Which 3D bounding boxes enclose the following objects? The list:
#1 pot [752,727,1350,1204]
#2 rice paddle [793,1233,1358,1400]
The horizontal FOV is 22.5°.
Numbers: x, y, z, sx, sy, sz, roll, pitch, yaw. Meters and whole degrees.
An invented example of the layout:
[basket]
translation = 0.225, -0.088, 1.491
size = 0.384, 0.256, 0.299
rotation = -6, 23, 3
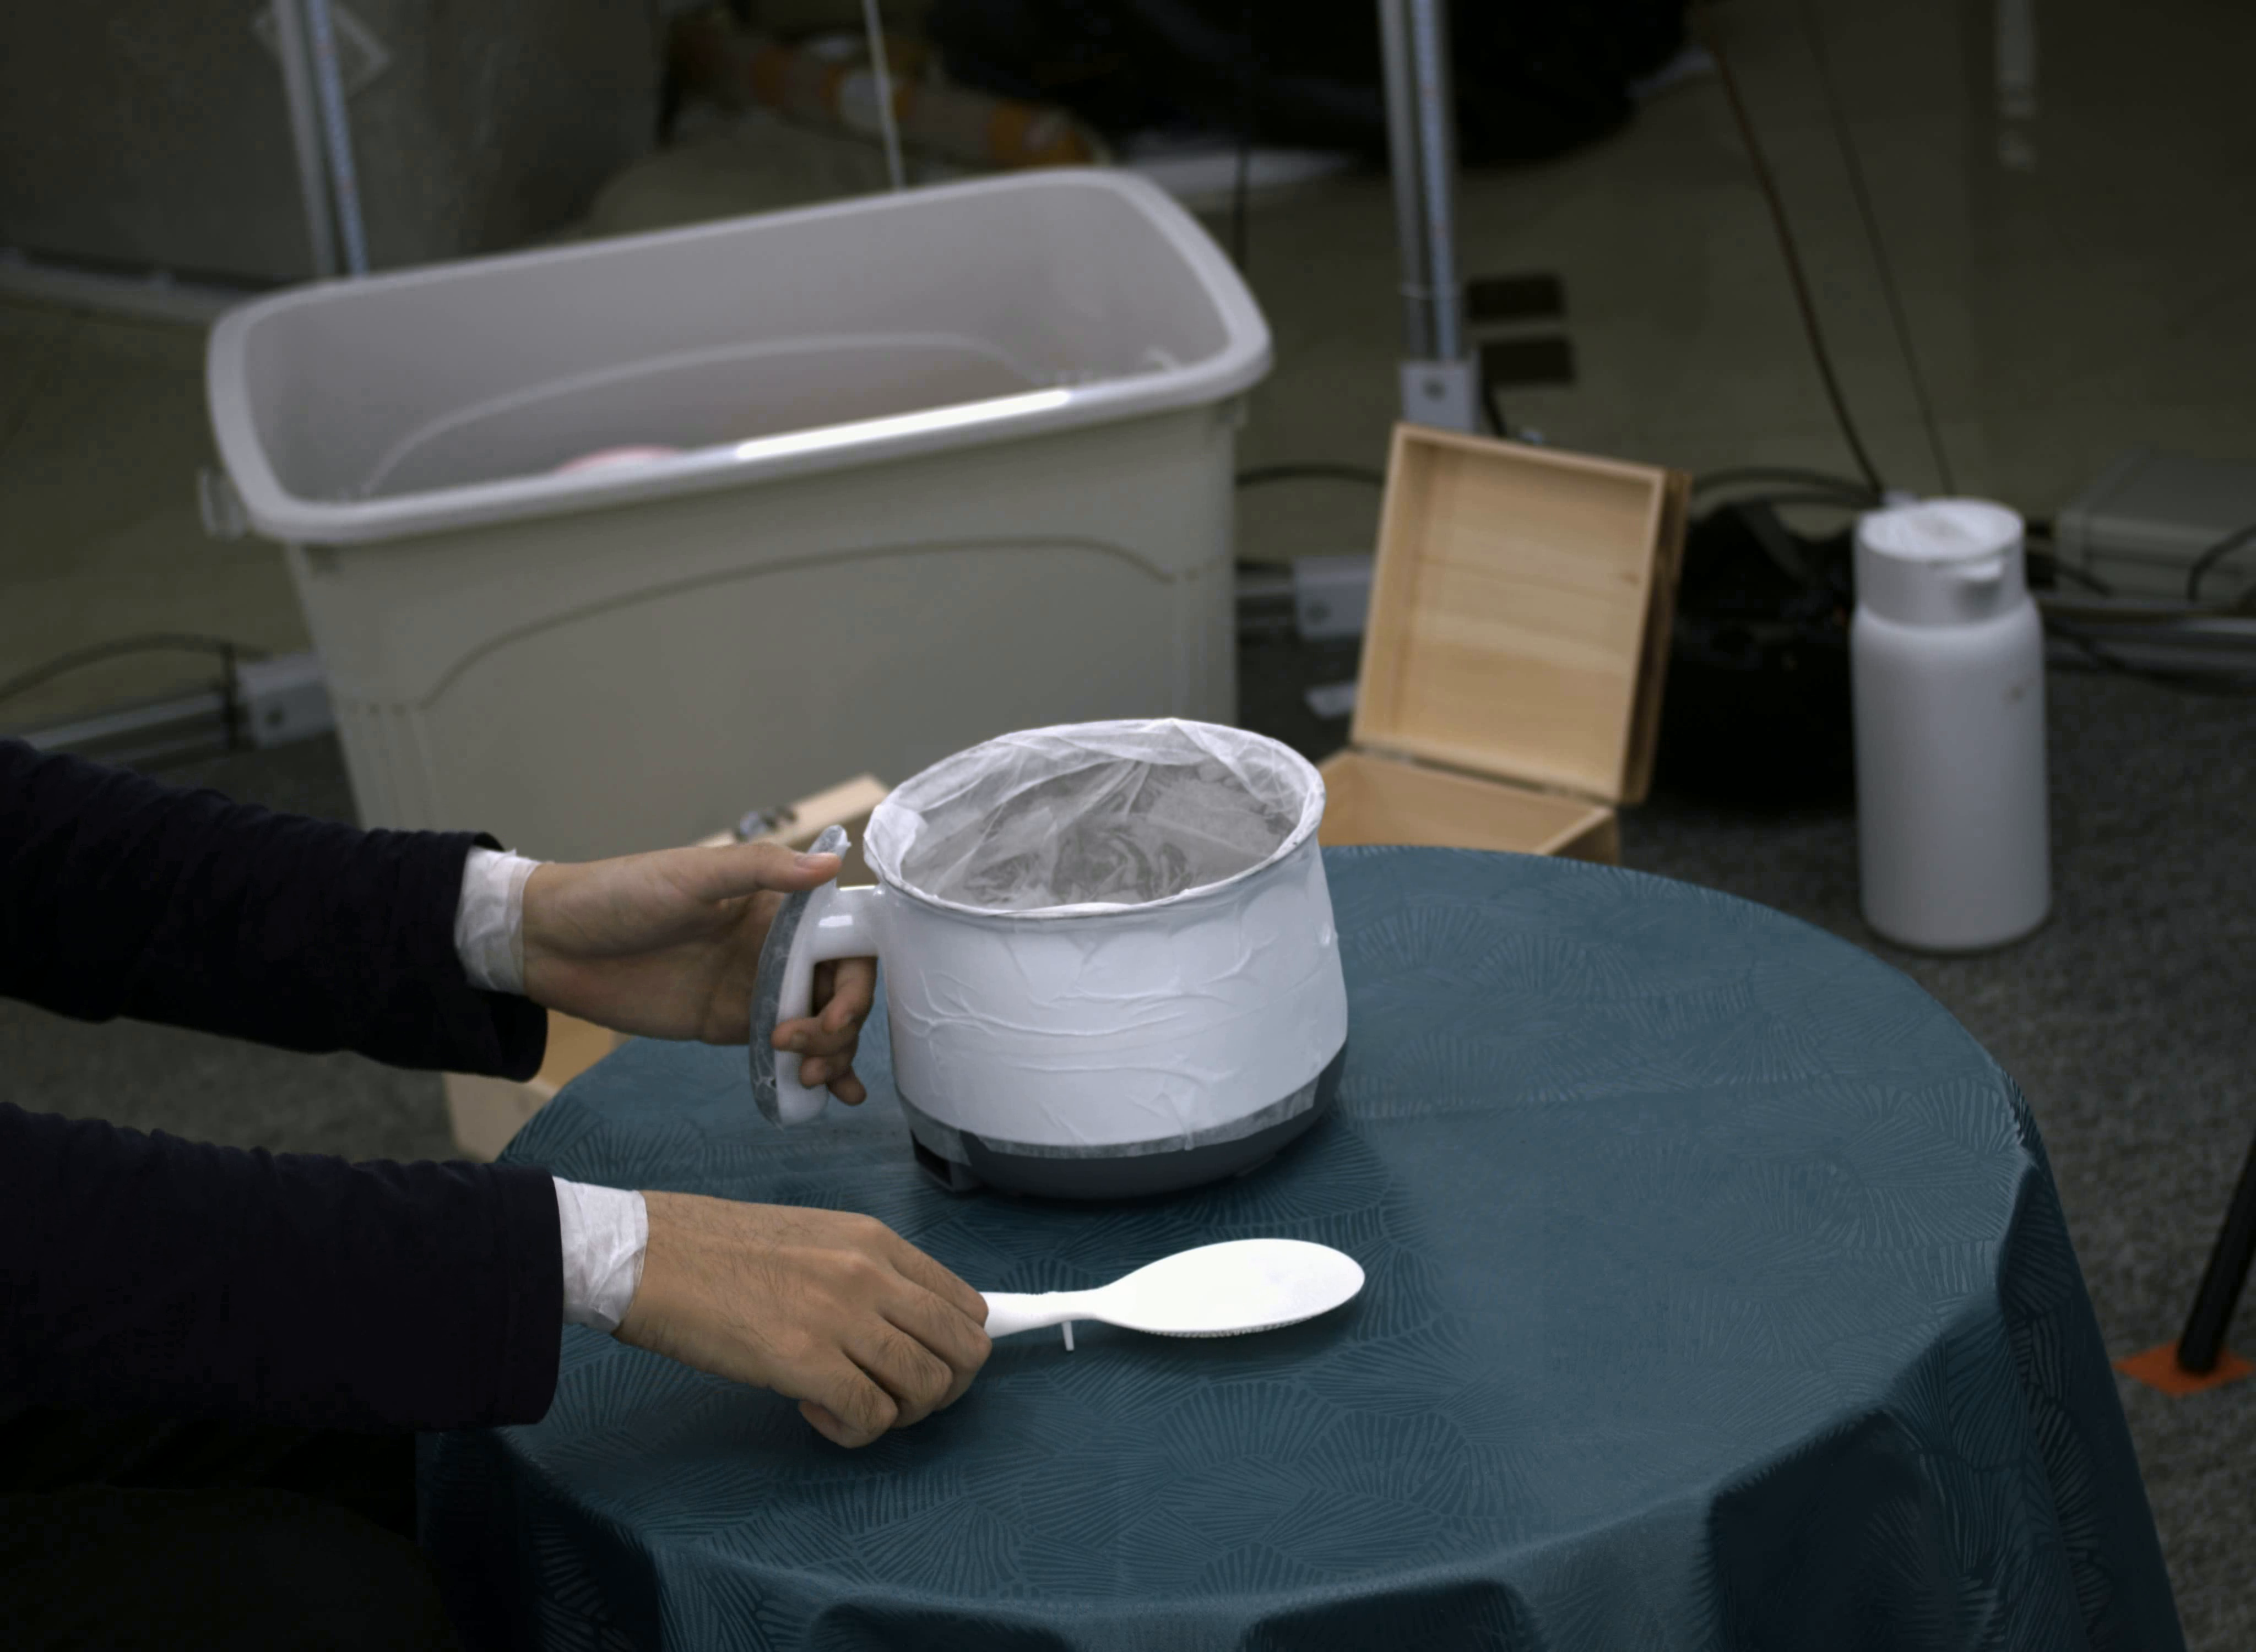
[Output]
[pot]
translation = -0.033, 0.058, 2.177
size = 0.233, 0.139, 0.176
rotation = -7, 23, 2
[rice paddle]
translation = -0.018, 0.174, 2.047
size = 0.205, 0.030, 0.068
rotation = -9, 25, -4
